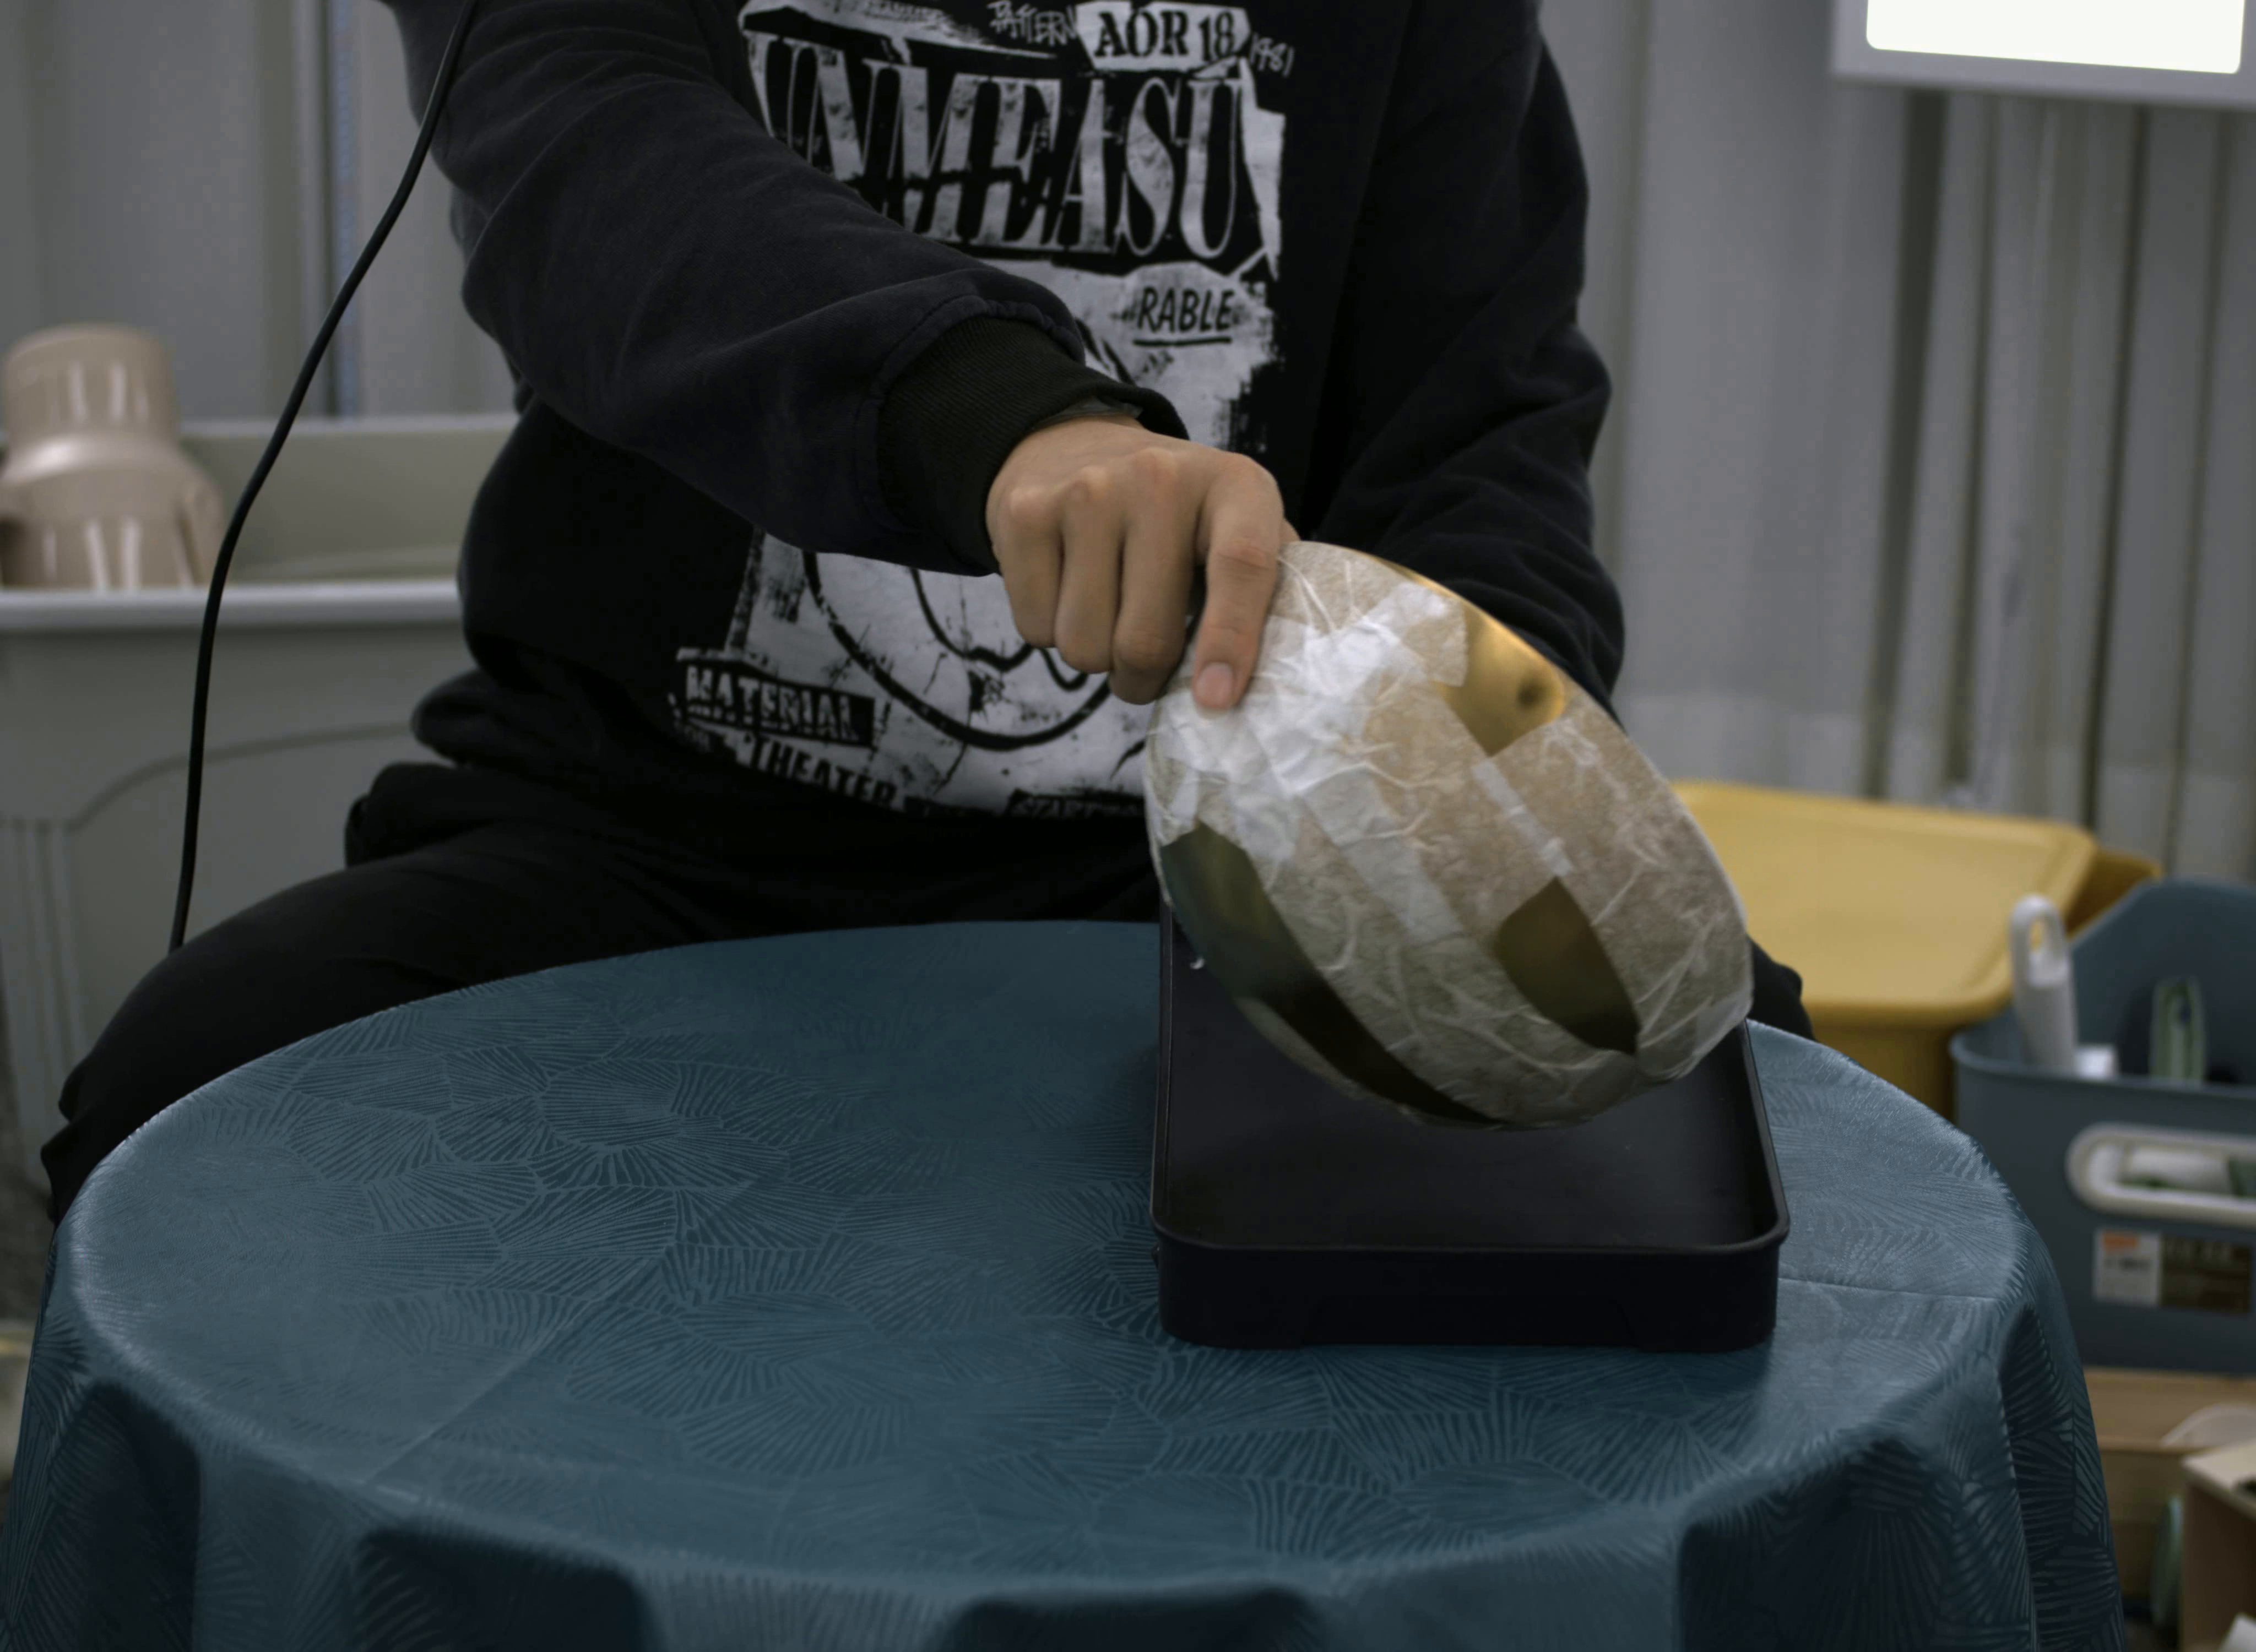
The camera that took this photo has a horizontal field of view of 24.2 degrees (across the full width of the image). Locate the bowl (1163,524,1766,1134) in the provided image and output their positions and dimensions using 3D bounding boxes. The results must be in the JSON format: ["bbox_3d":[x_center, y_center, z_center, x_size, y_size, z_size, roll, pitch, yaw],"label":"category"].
[{"bbox_3d":[0.079,0.020,1.549,0.094,0.218,0.212,-46,38,-20],"label":"bowl"}]

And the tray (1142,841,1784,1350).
[{"bbox_3d":[0.100,0.076,1.633,0.183,0.037,0.316,0,21,2],"label":"tray"}]
